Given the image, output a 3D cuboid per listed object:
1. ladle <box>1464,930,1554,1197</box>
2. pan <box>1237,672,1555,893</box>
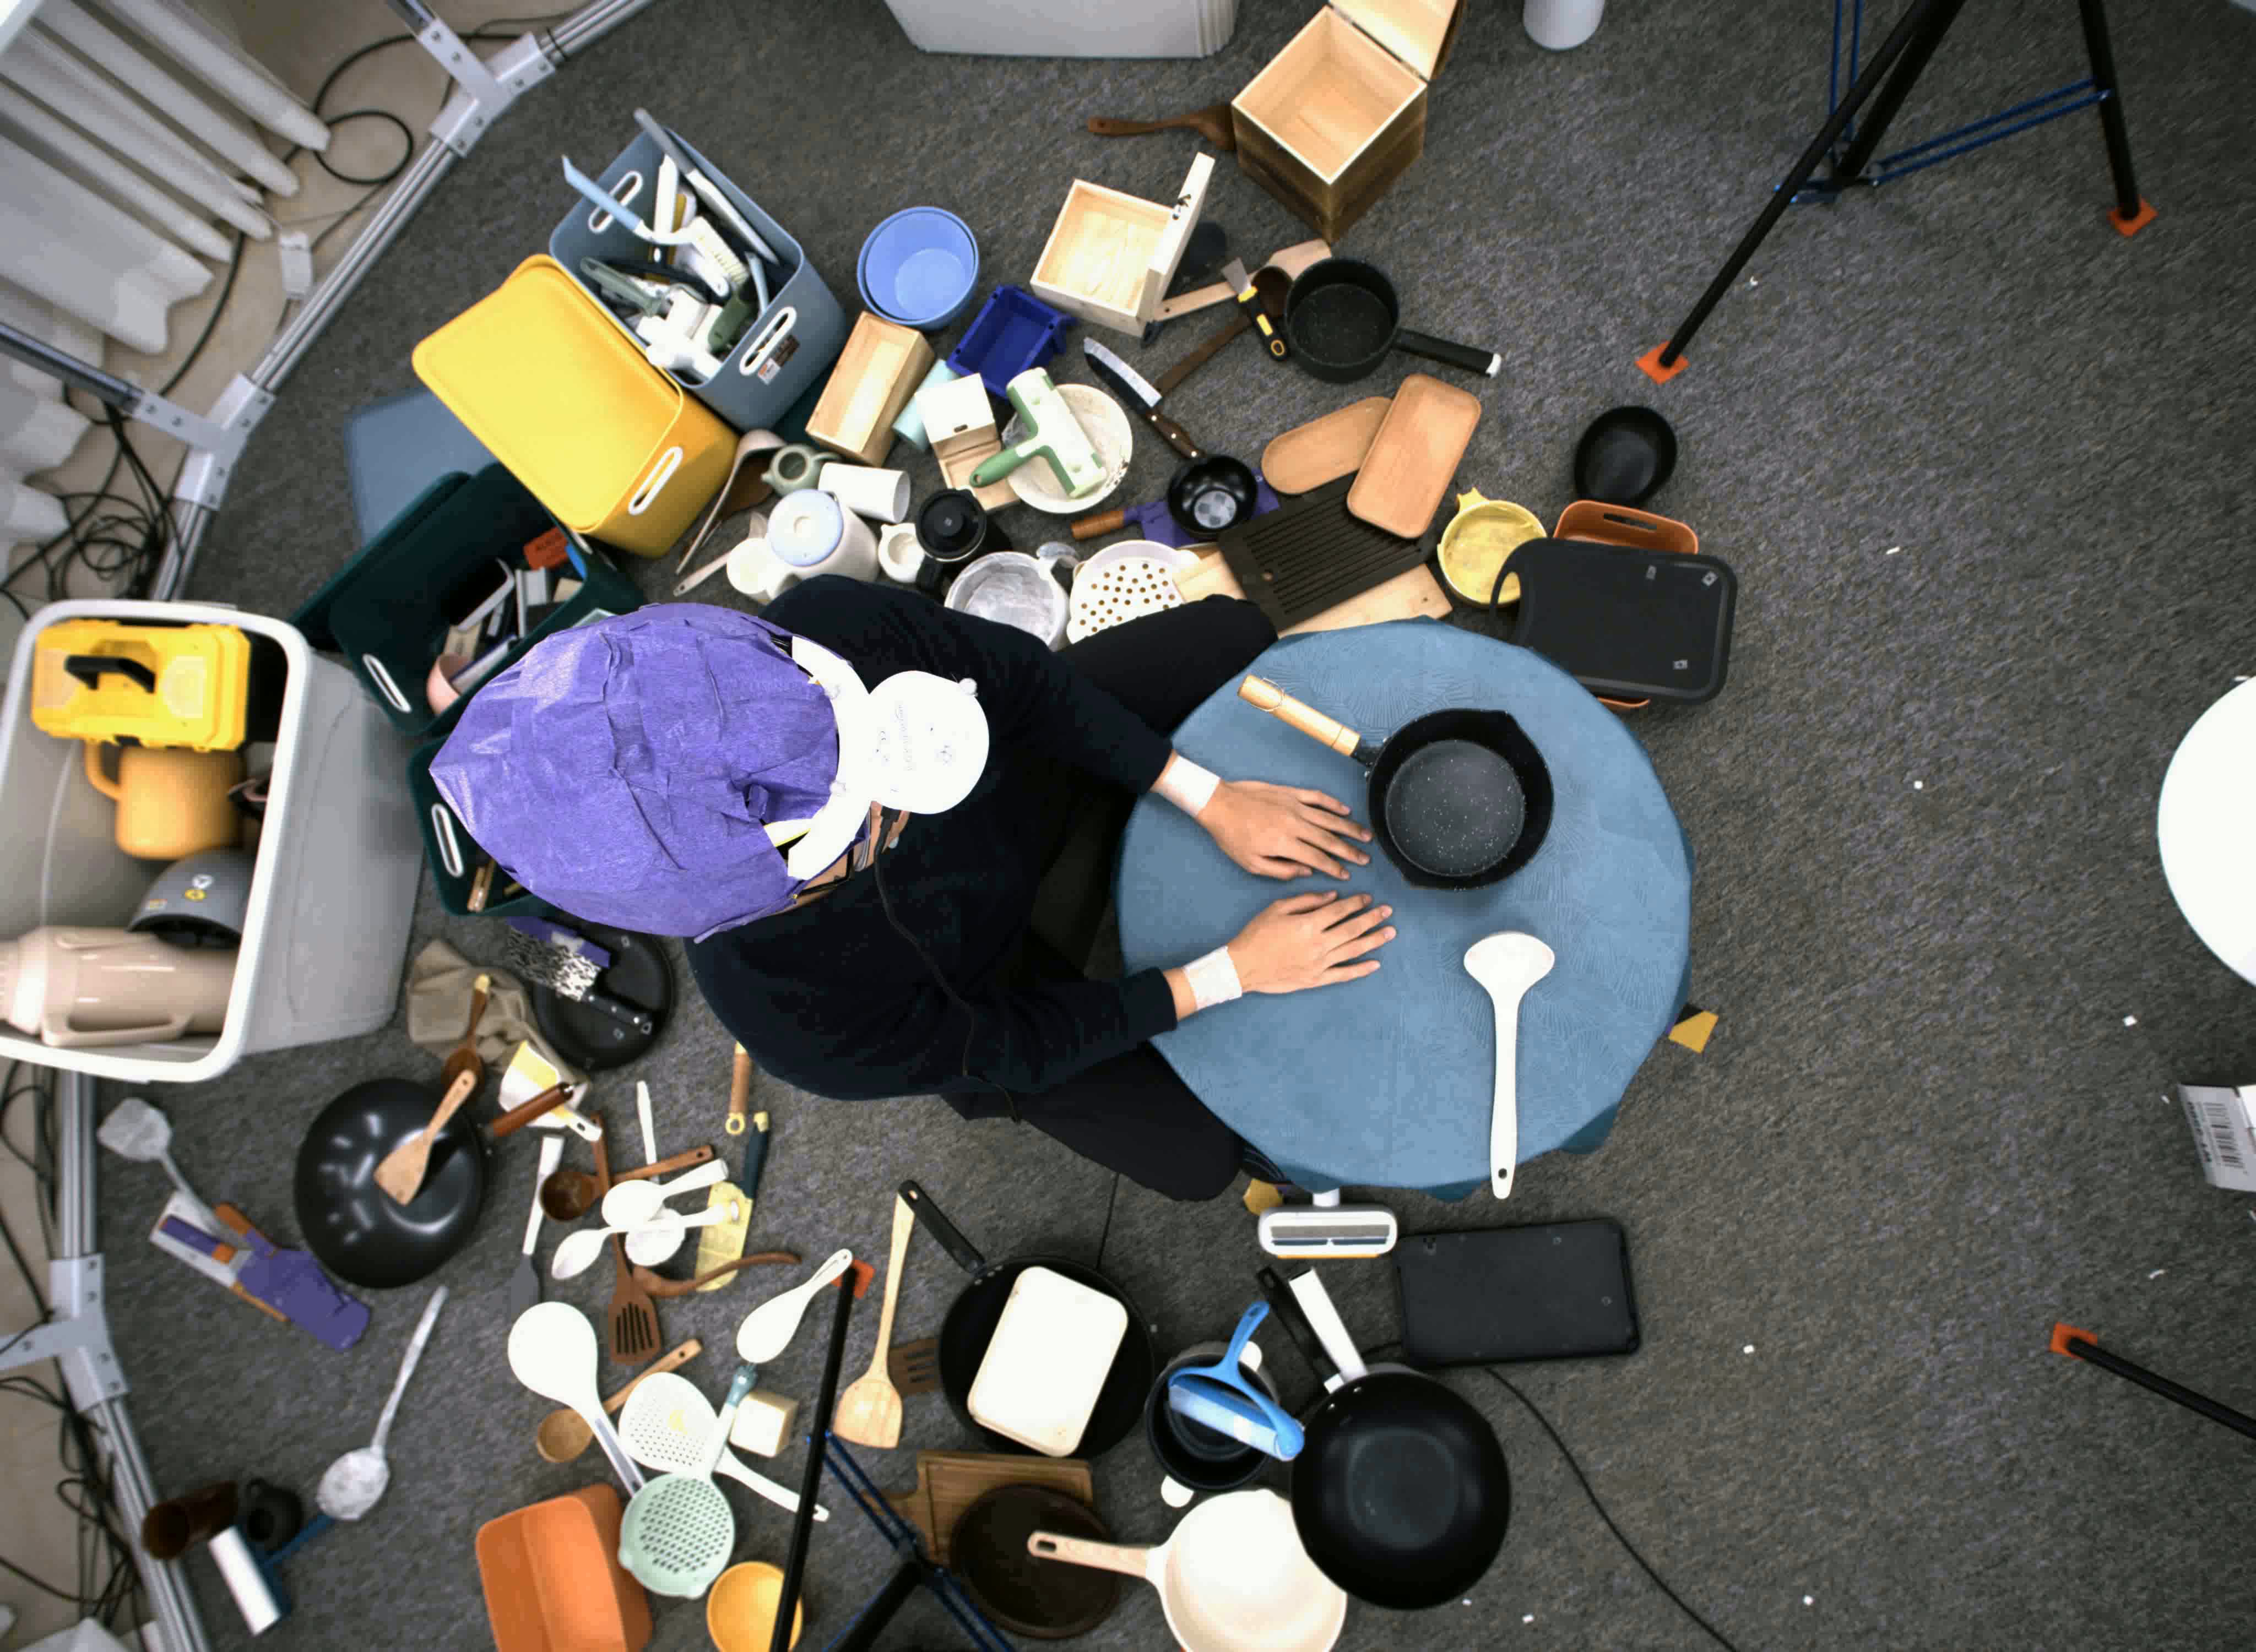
[{"bbox_3d":[0.385,0.241,1.397,0.089,0.069,0.274,1,88,4],"label":"ladle"},{"bbox_3d":[0.266,-0.062,1.413,0.342,0.108,0.208,28,93,9],"label":"pan"}]
